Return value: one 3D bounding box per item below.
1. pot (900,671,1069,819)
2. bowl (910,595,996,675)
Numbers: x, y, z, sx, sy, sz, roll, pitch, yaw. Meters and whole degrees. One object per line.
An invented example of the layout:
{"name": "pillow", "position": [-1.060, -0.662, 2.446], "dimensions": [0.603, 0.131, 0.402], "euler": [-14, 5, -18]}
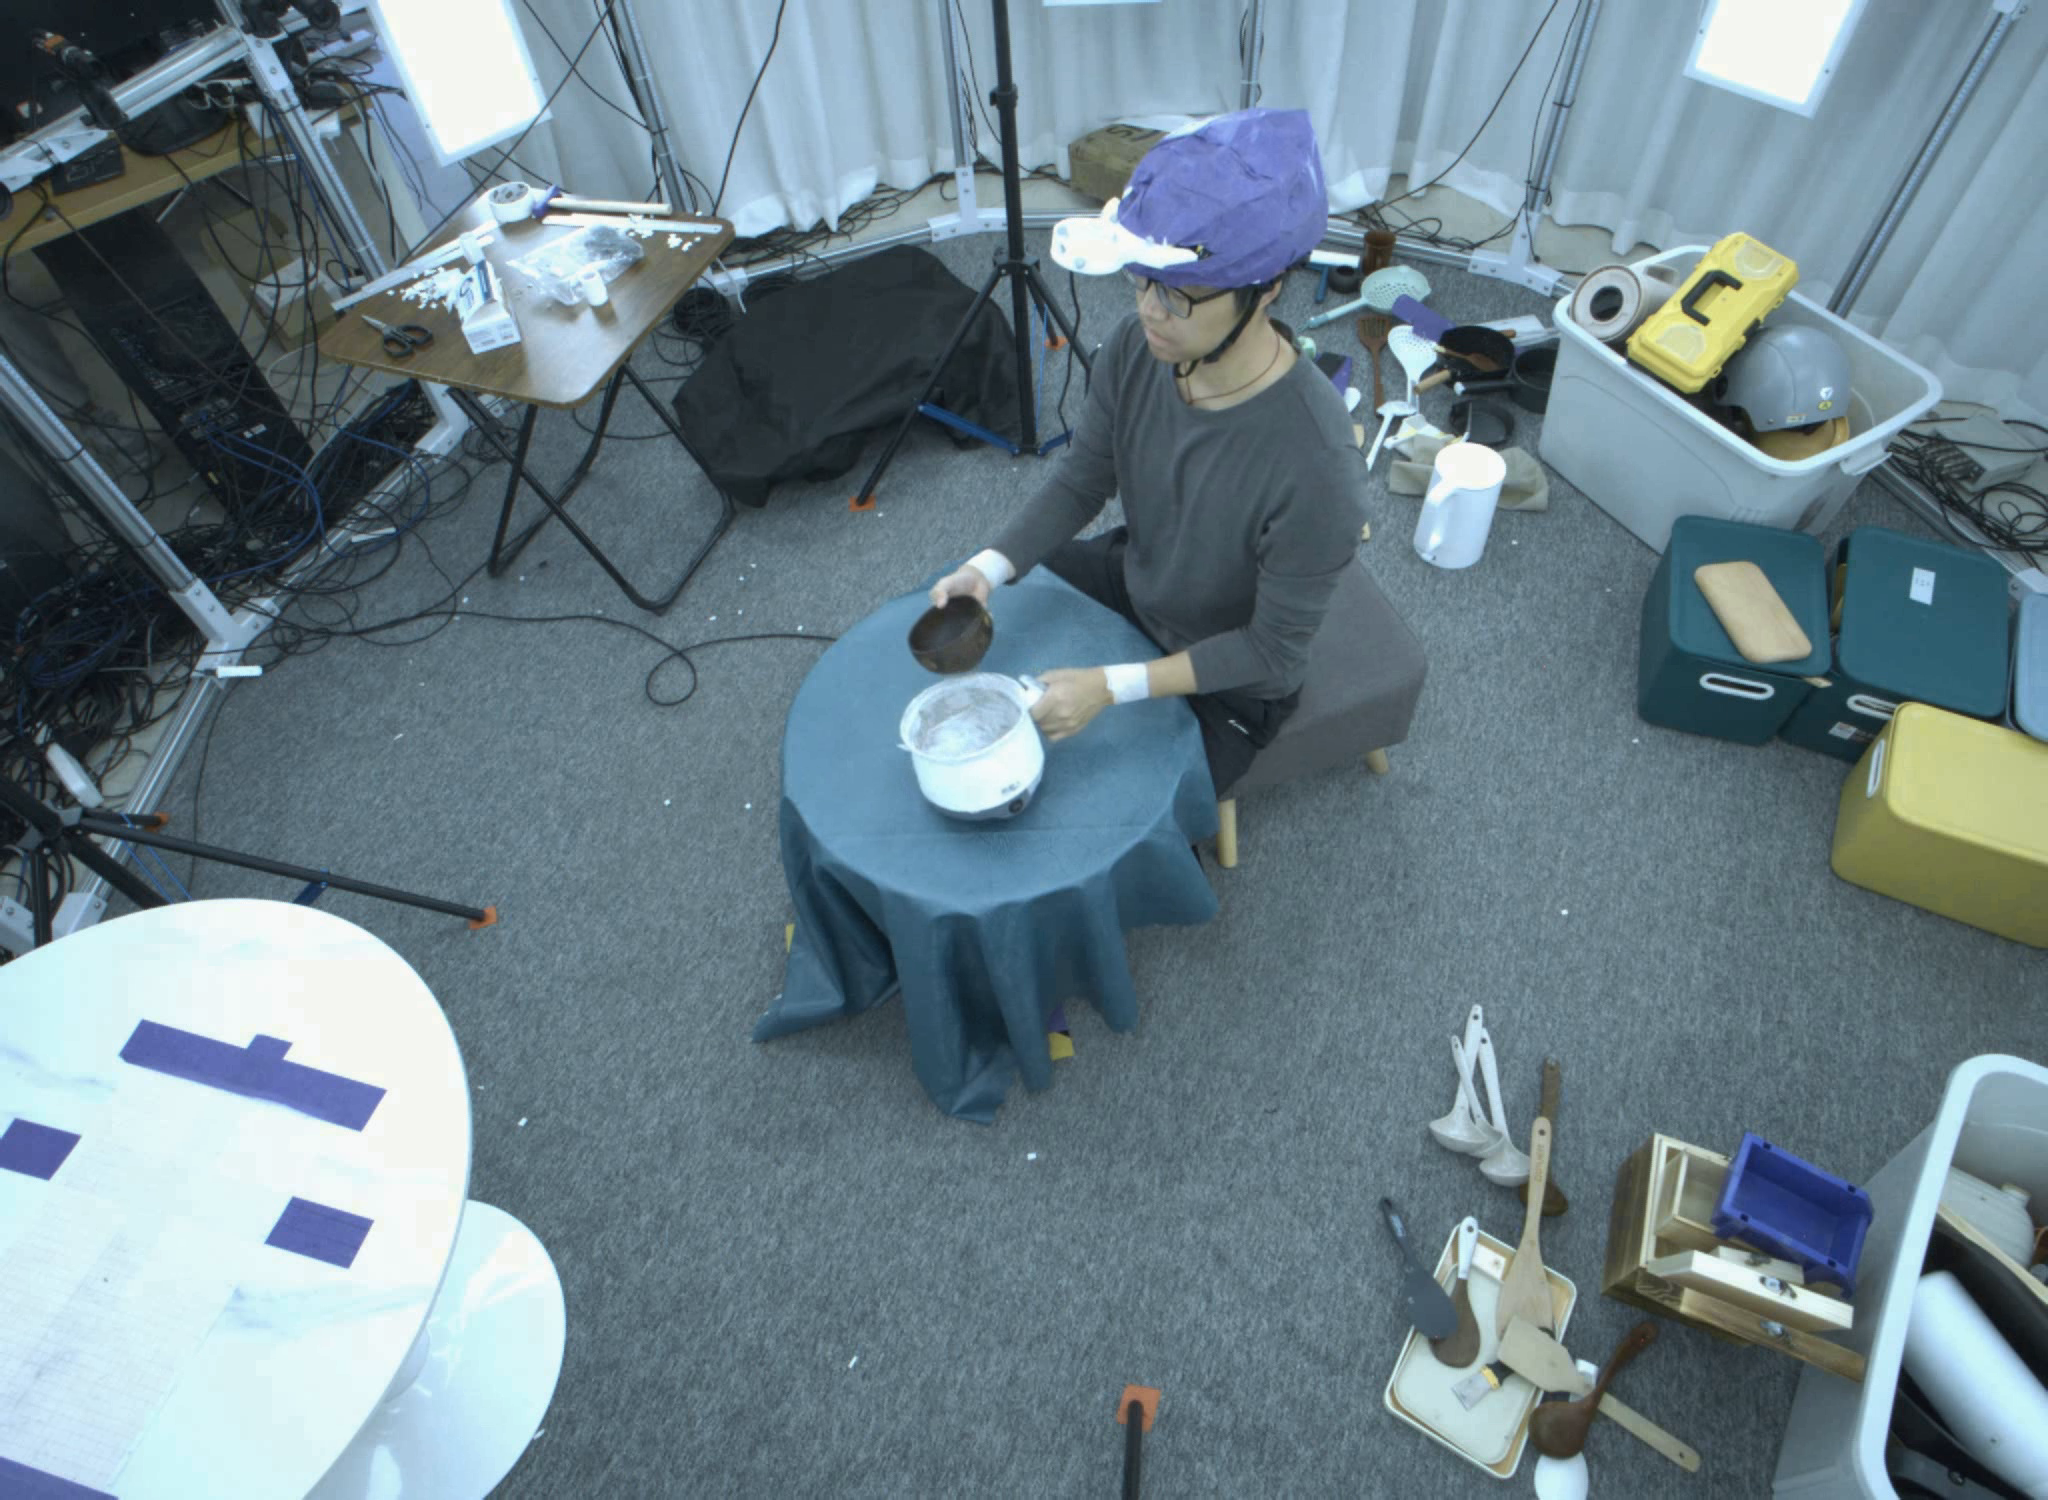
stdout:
{"name": "pot", "position": [-0.045, -0.018, 1.707], "dimensions": [0.235, 0.139, 0.174], "euler": [-33, 46, -18]}
{"name": "bowl", "position": [-0.090, -0.149, 1.679], "dimensions": [0.117, 0.071, 0.117], "euler": [-19, 39, 18]}
